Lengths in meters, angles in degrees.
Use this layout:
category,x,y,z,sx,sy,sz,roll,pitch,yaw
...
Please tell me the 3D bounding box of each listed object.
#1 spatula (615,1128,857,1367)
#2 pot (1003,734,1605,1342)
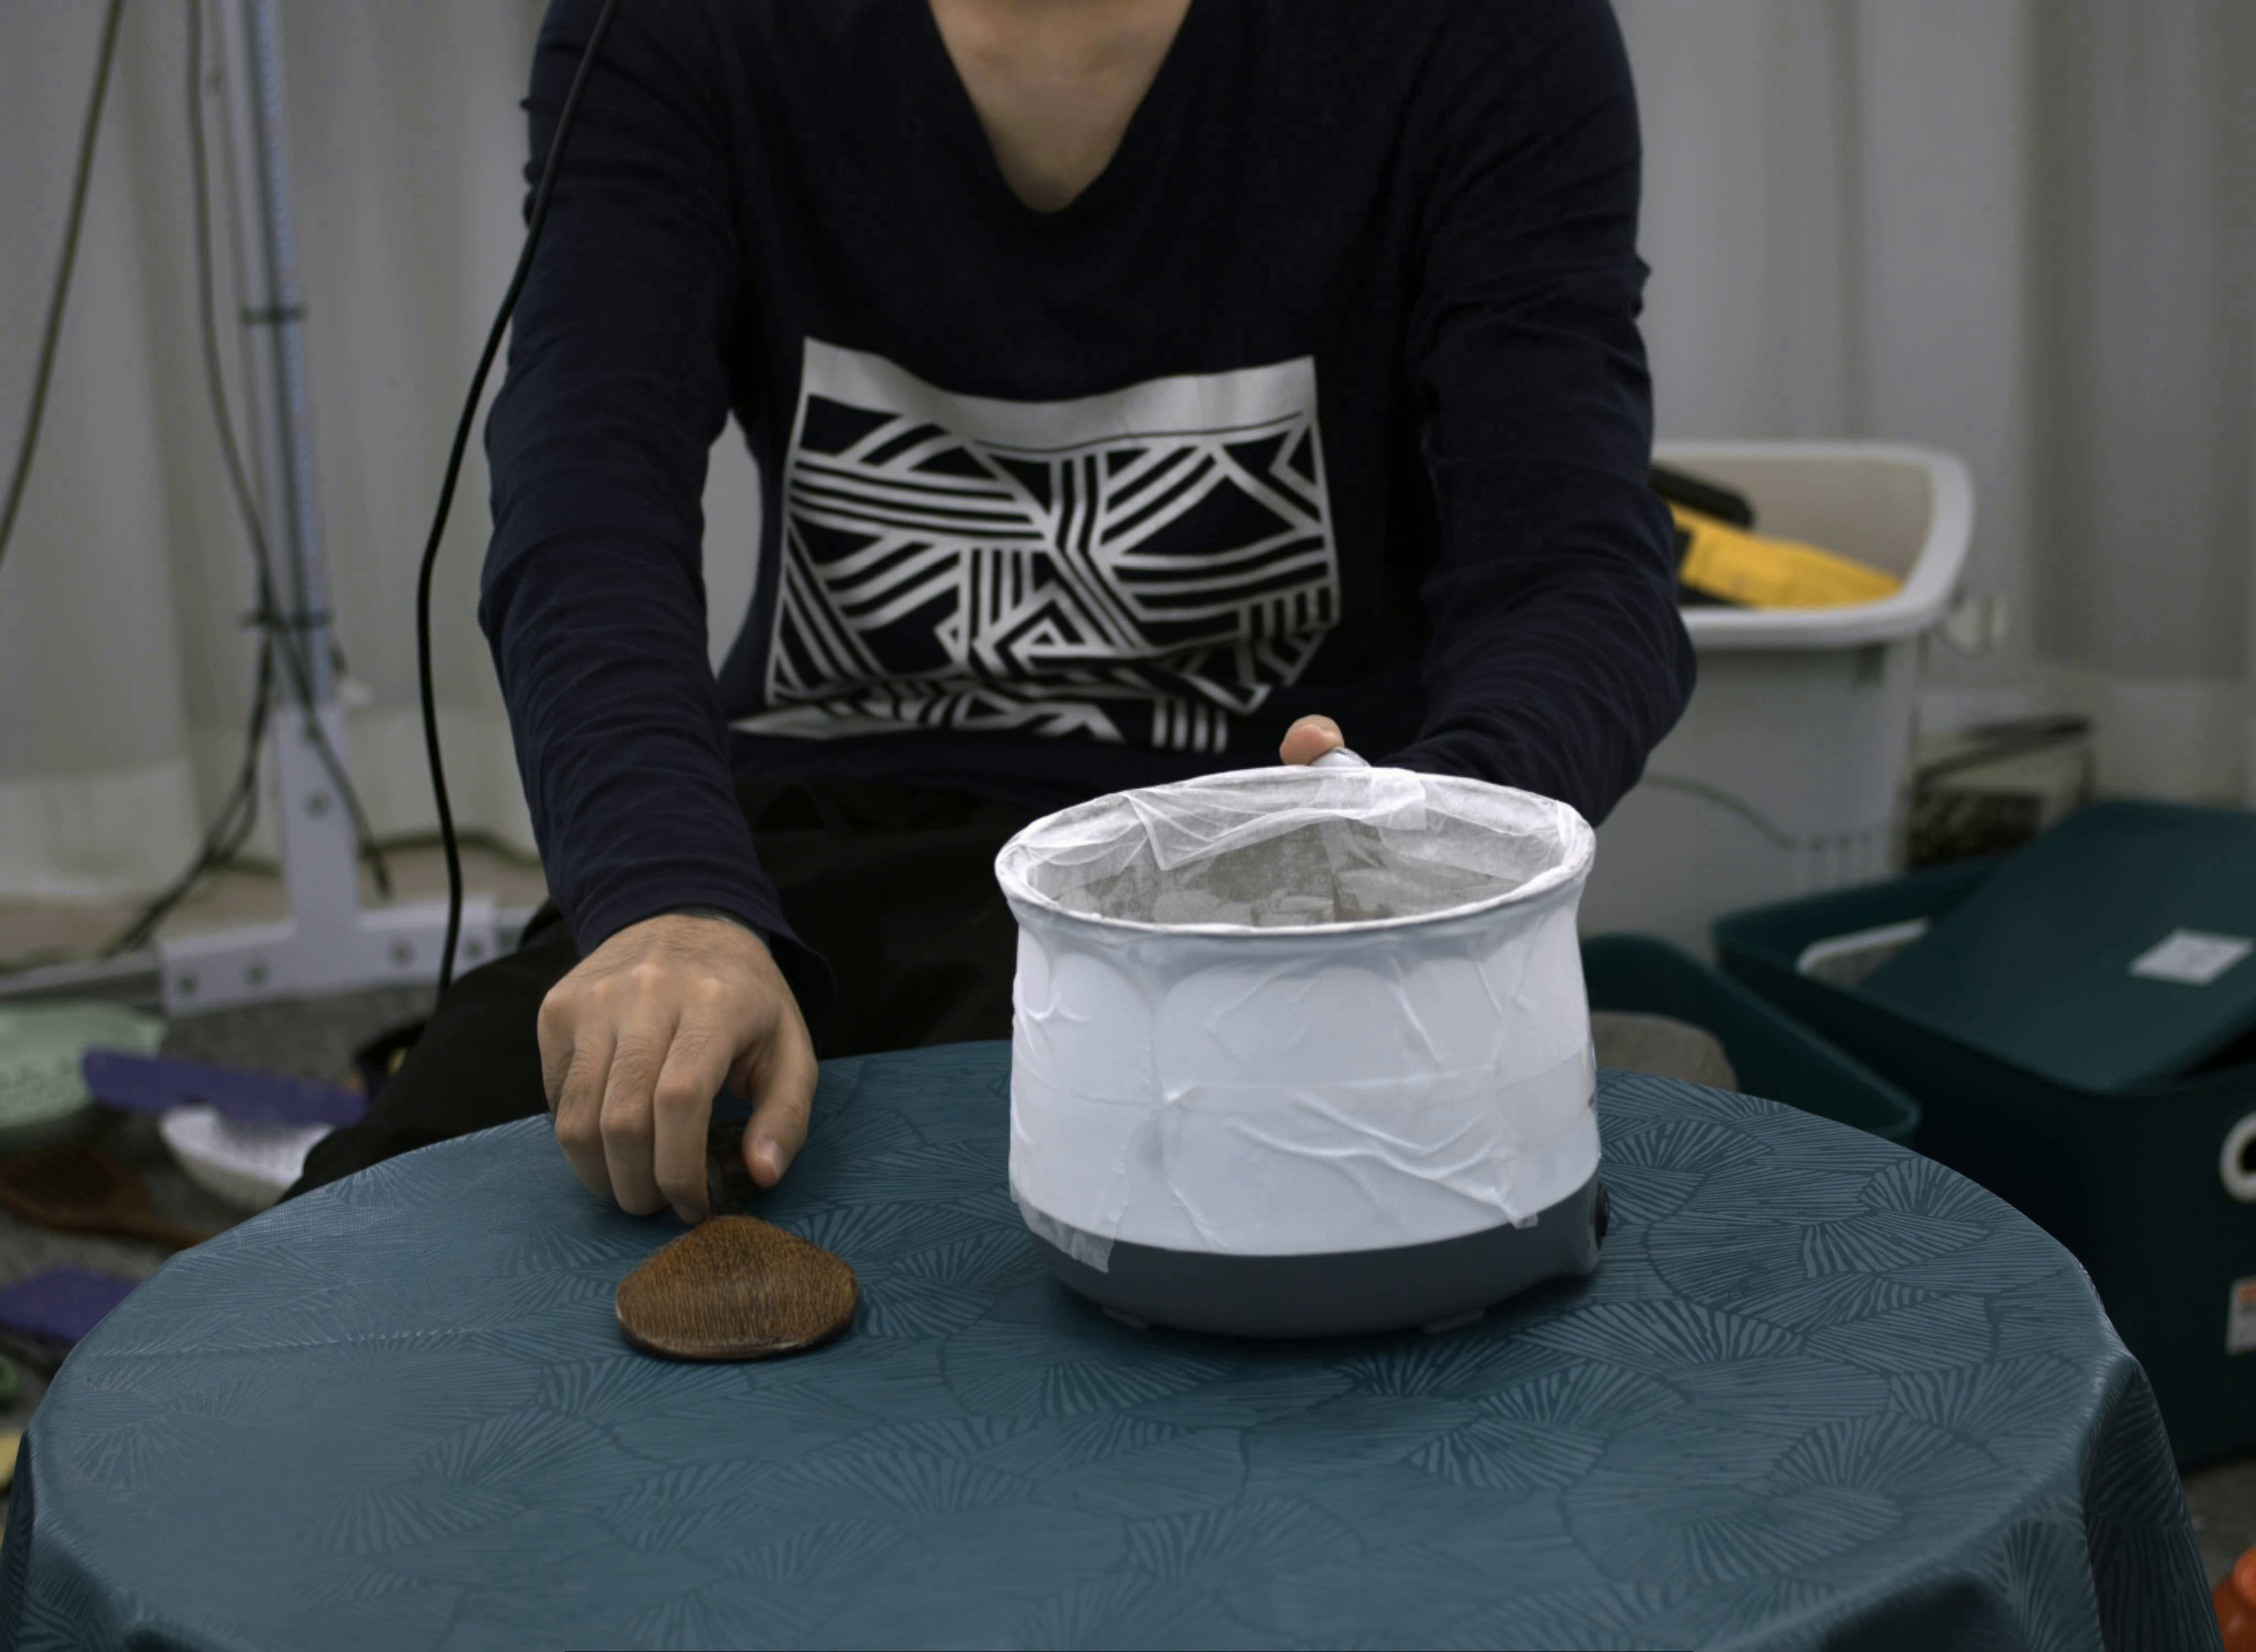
category,x,y,z,sx,sy,sz,roll,pitch,yaw
spatula,-0.120,0.126,1.685,0.071,0.009,0.217,-2,14,-3
pot,0.055,0.058,1.647,0.178,0.136,0.235,2,17,7
